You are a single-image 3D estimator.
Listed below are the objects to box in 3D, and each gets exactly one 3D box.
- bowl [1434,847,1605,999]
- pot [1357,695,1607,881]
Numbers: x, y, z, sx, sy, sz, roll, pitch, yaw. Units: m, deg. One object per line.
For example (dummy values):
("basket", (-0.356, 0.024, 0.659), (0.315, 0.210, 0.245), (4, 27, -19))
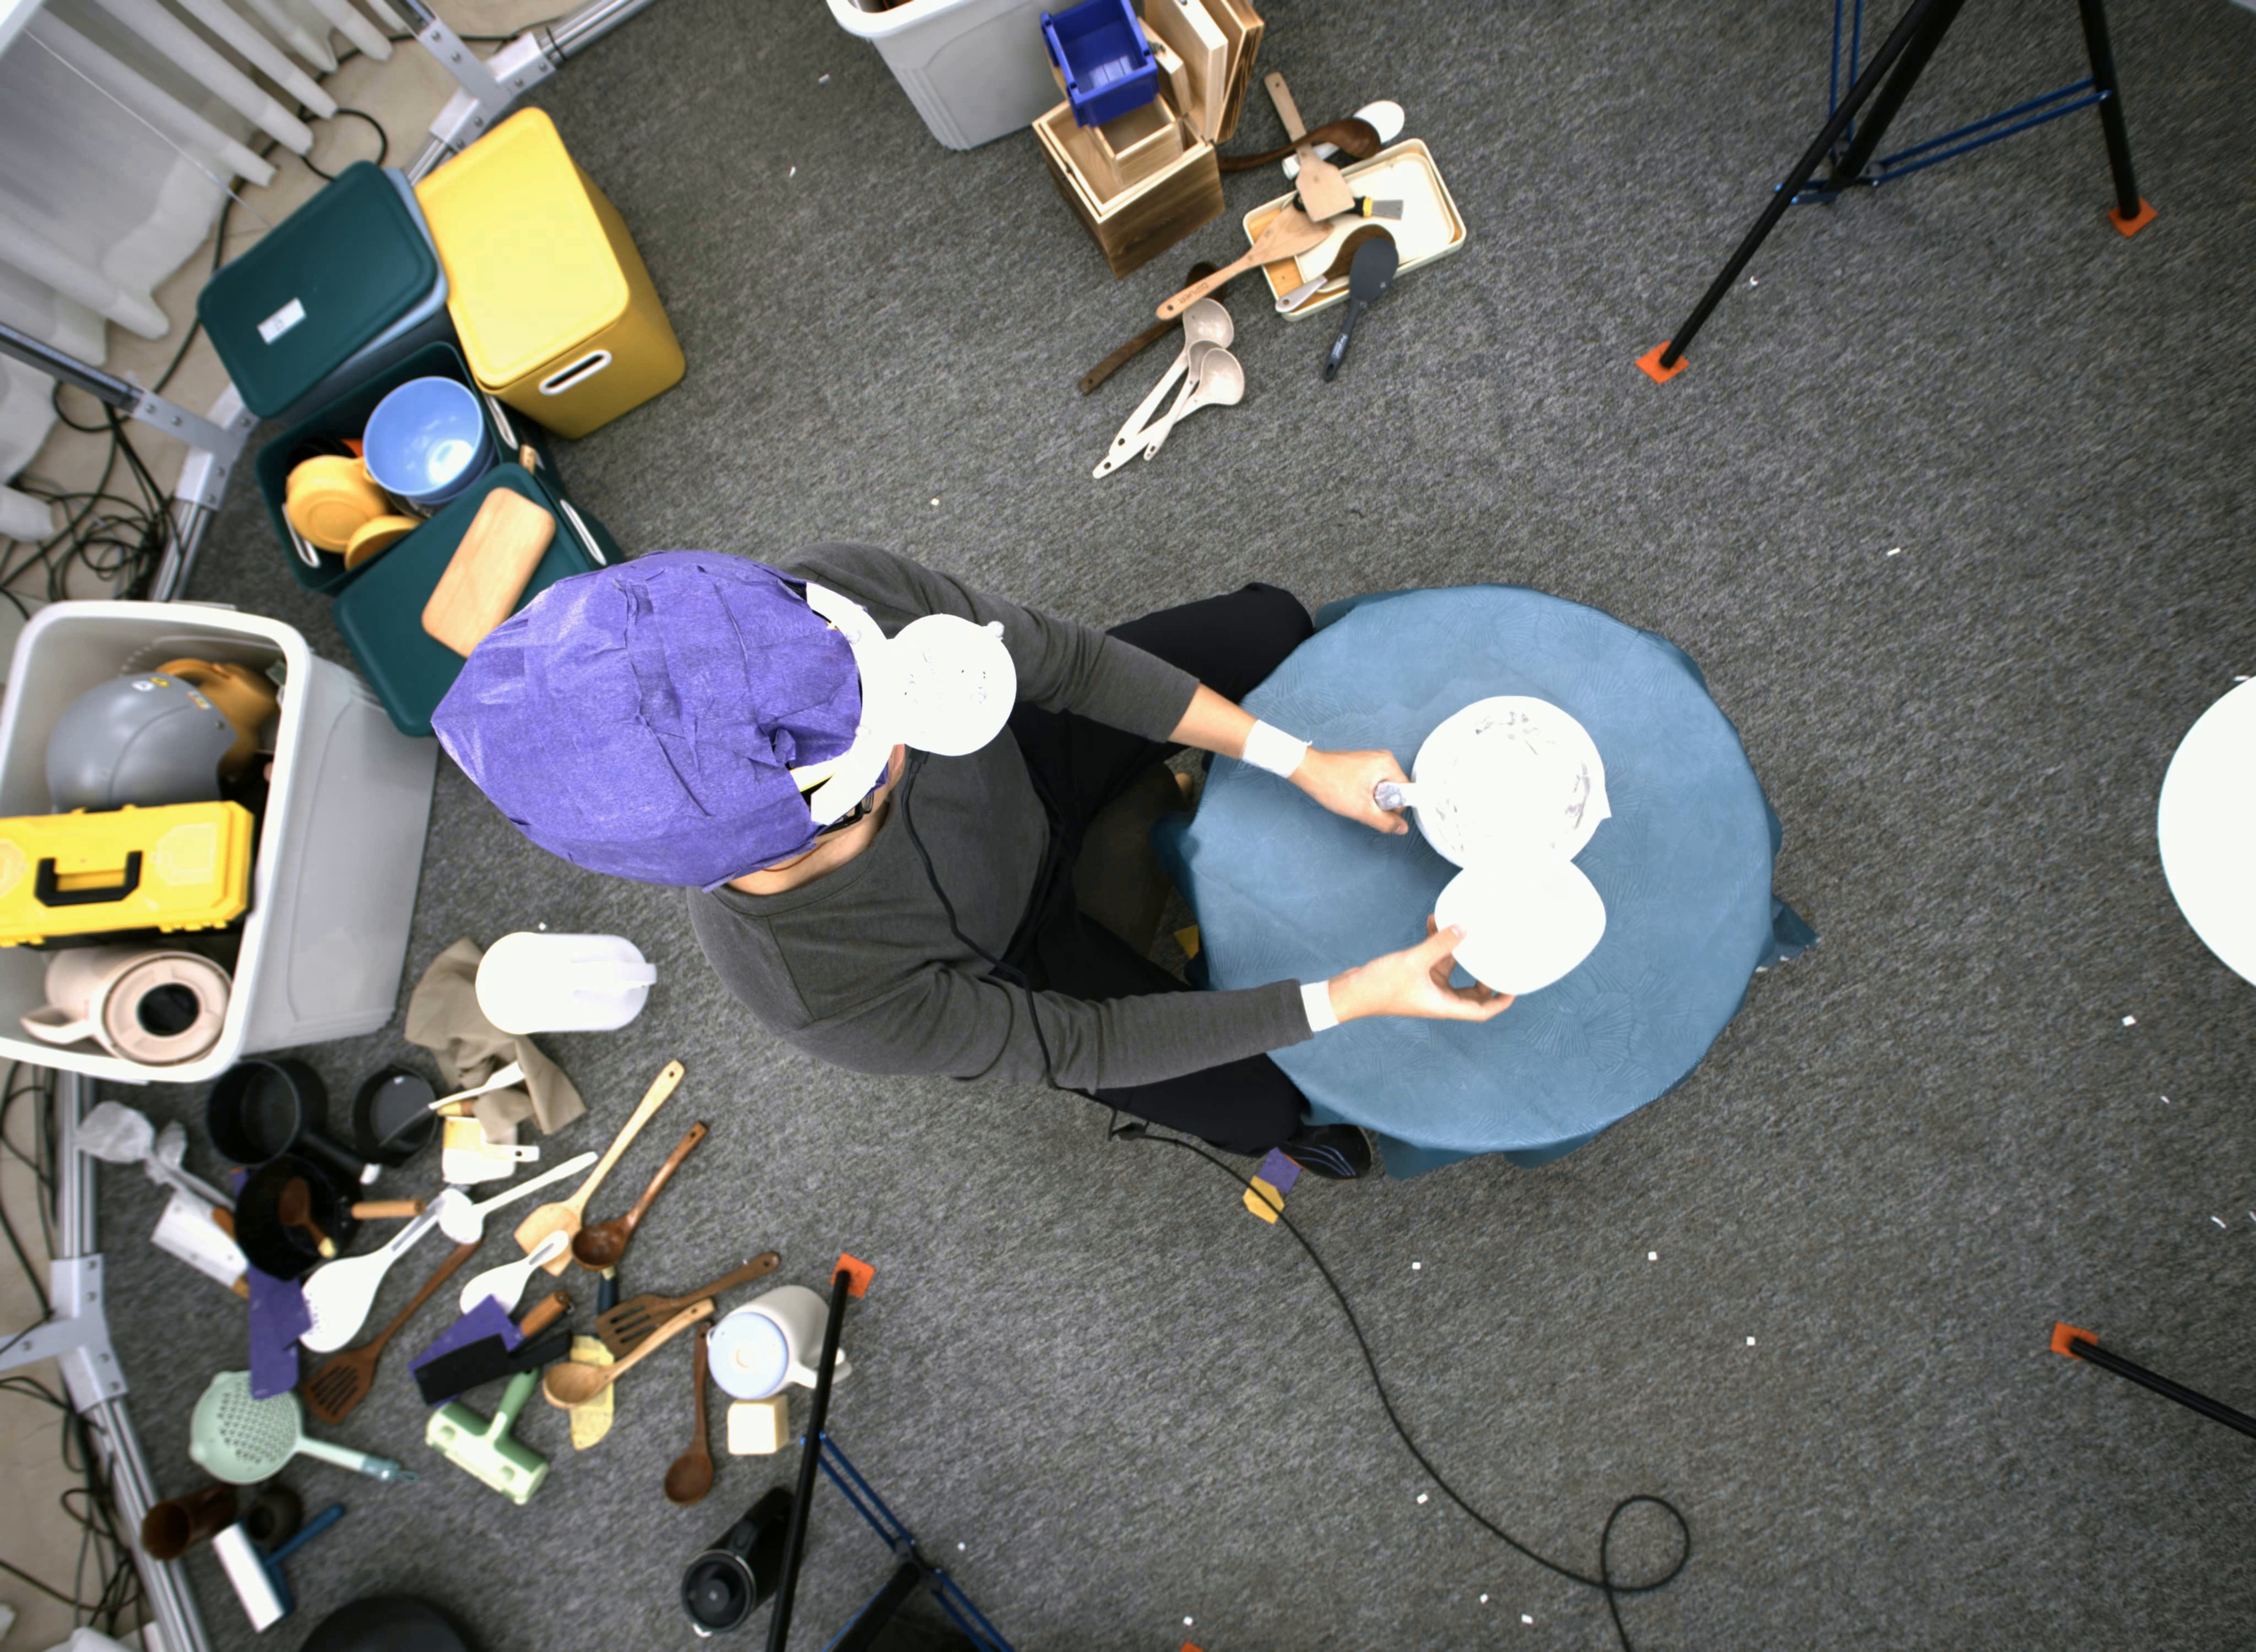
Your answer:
("bowl", (0.361, 0.096, 1.269), (0.152, 0.059, 0.148), (-9, 59, 15))
("pot", (0.347, -0.038, 1.374), (0.235, 0.136, 0.179), (-4, 92, 9))
